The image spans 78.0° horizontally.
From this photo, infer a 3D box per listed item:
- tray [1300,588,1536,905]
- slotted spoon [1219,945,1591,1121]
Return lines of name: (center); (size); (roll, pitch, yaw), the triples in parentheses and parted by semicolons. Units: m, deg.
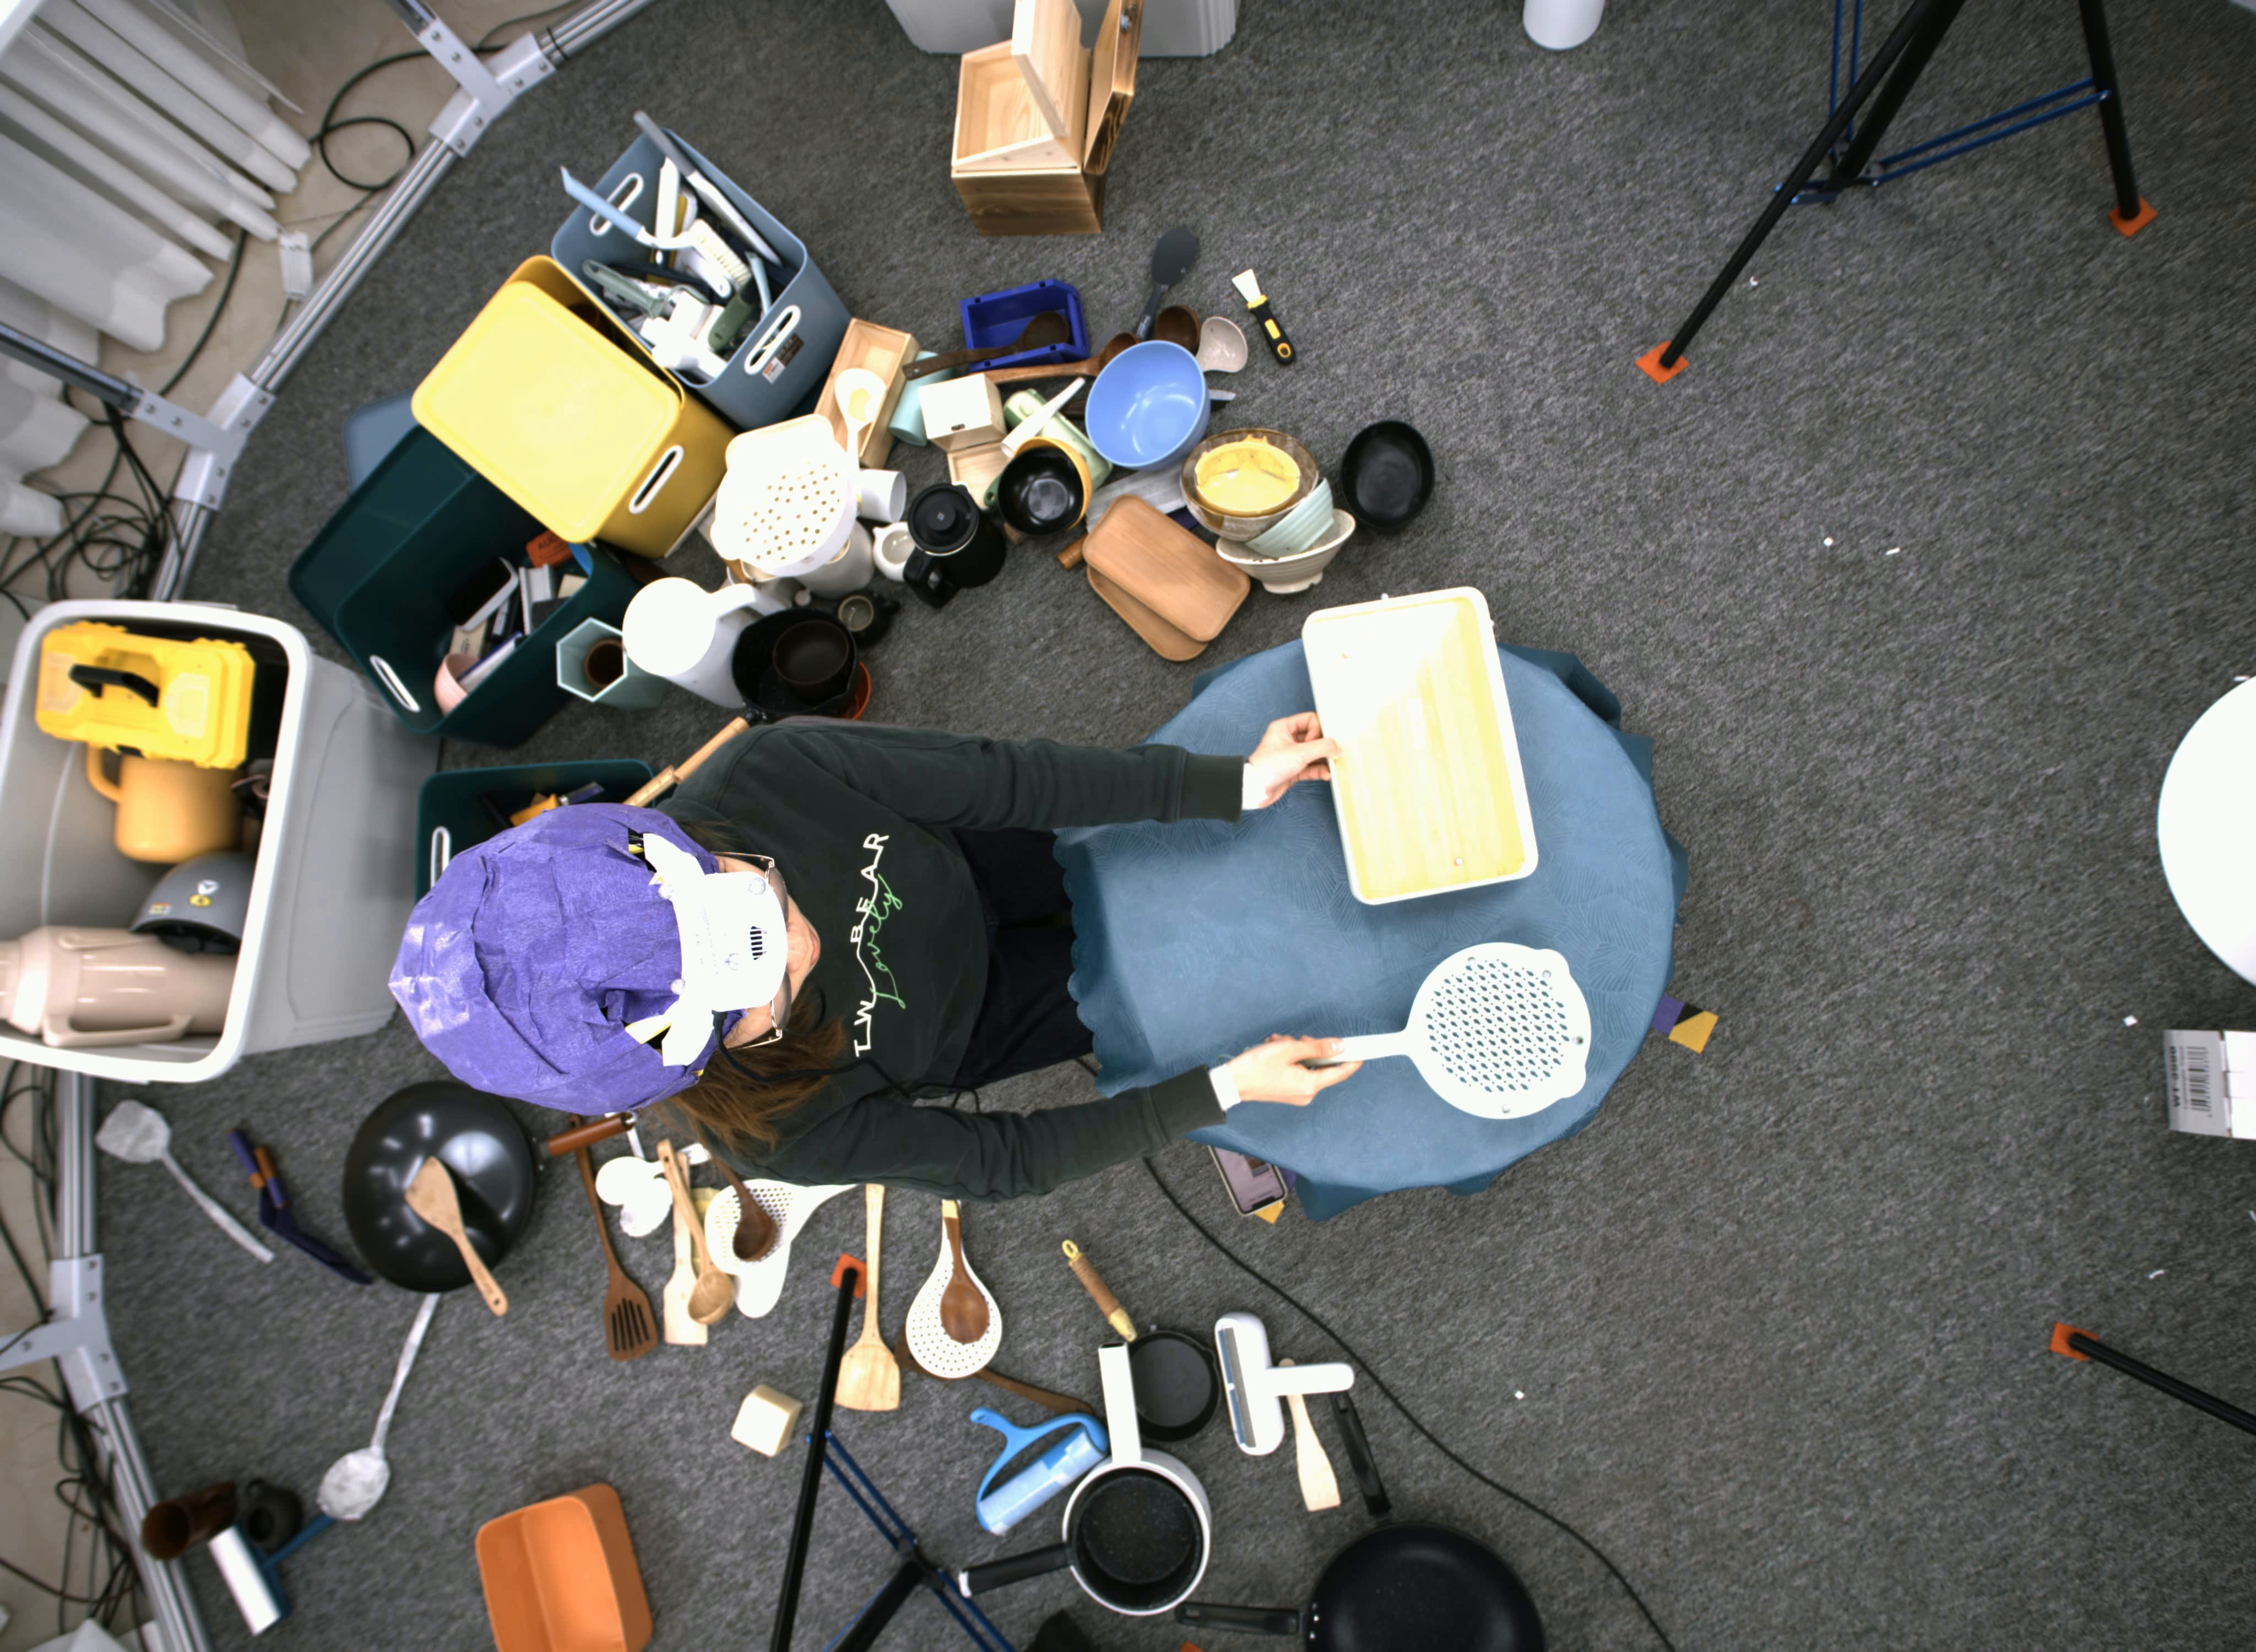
tray: (0.293, -0.082, 1.390); (0.191, 0.027, 0.299); (-10, 88, -2)
slotted spoon: (0.268, 0.215, 1.366); (0.360, 0.075, 0.168); (-9, 86, 4)
